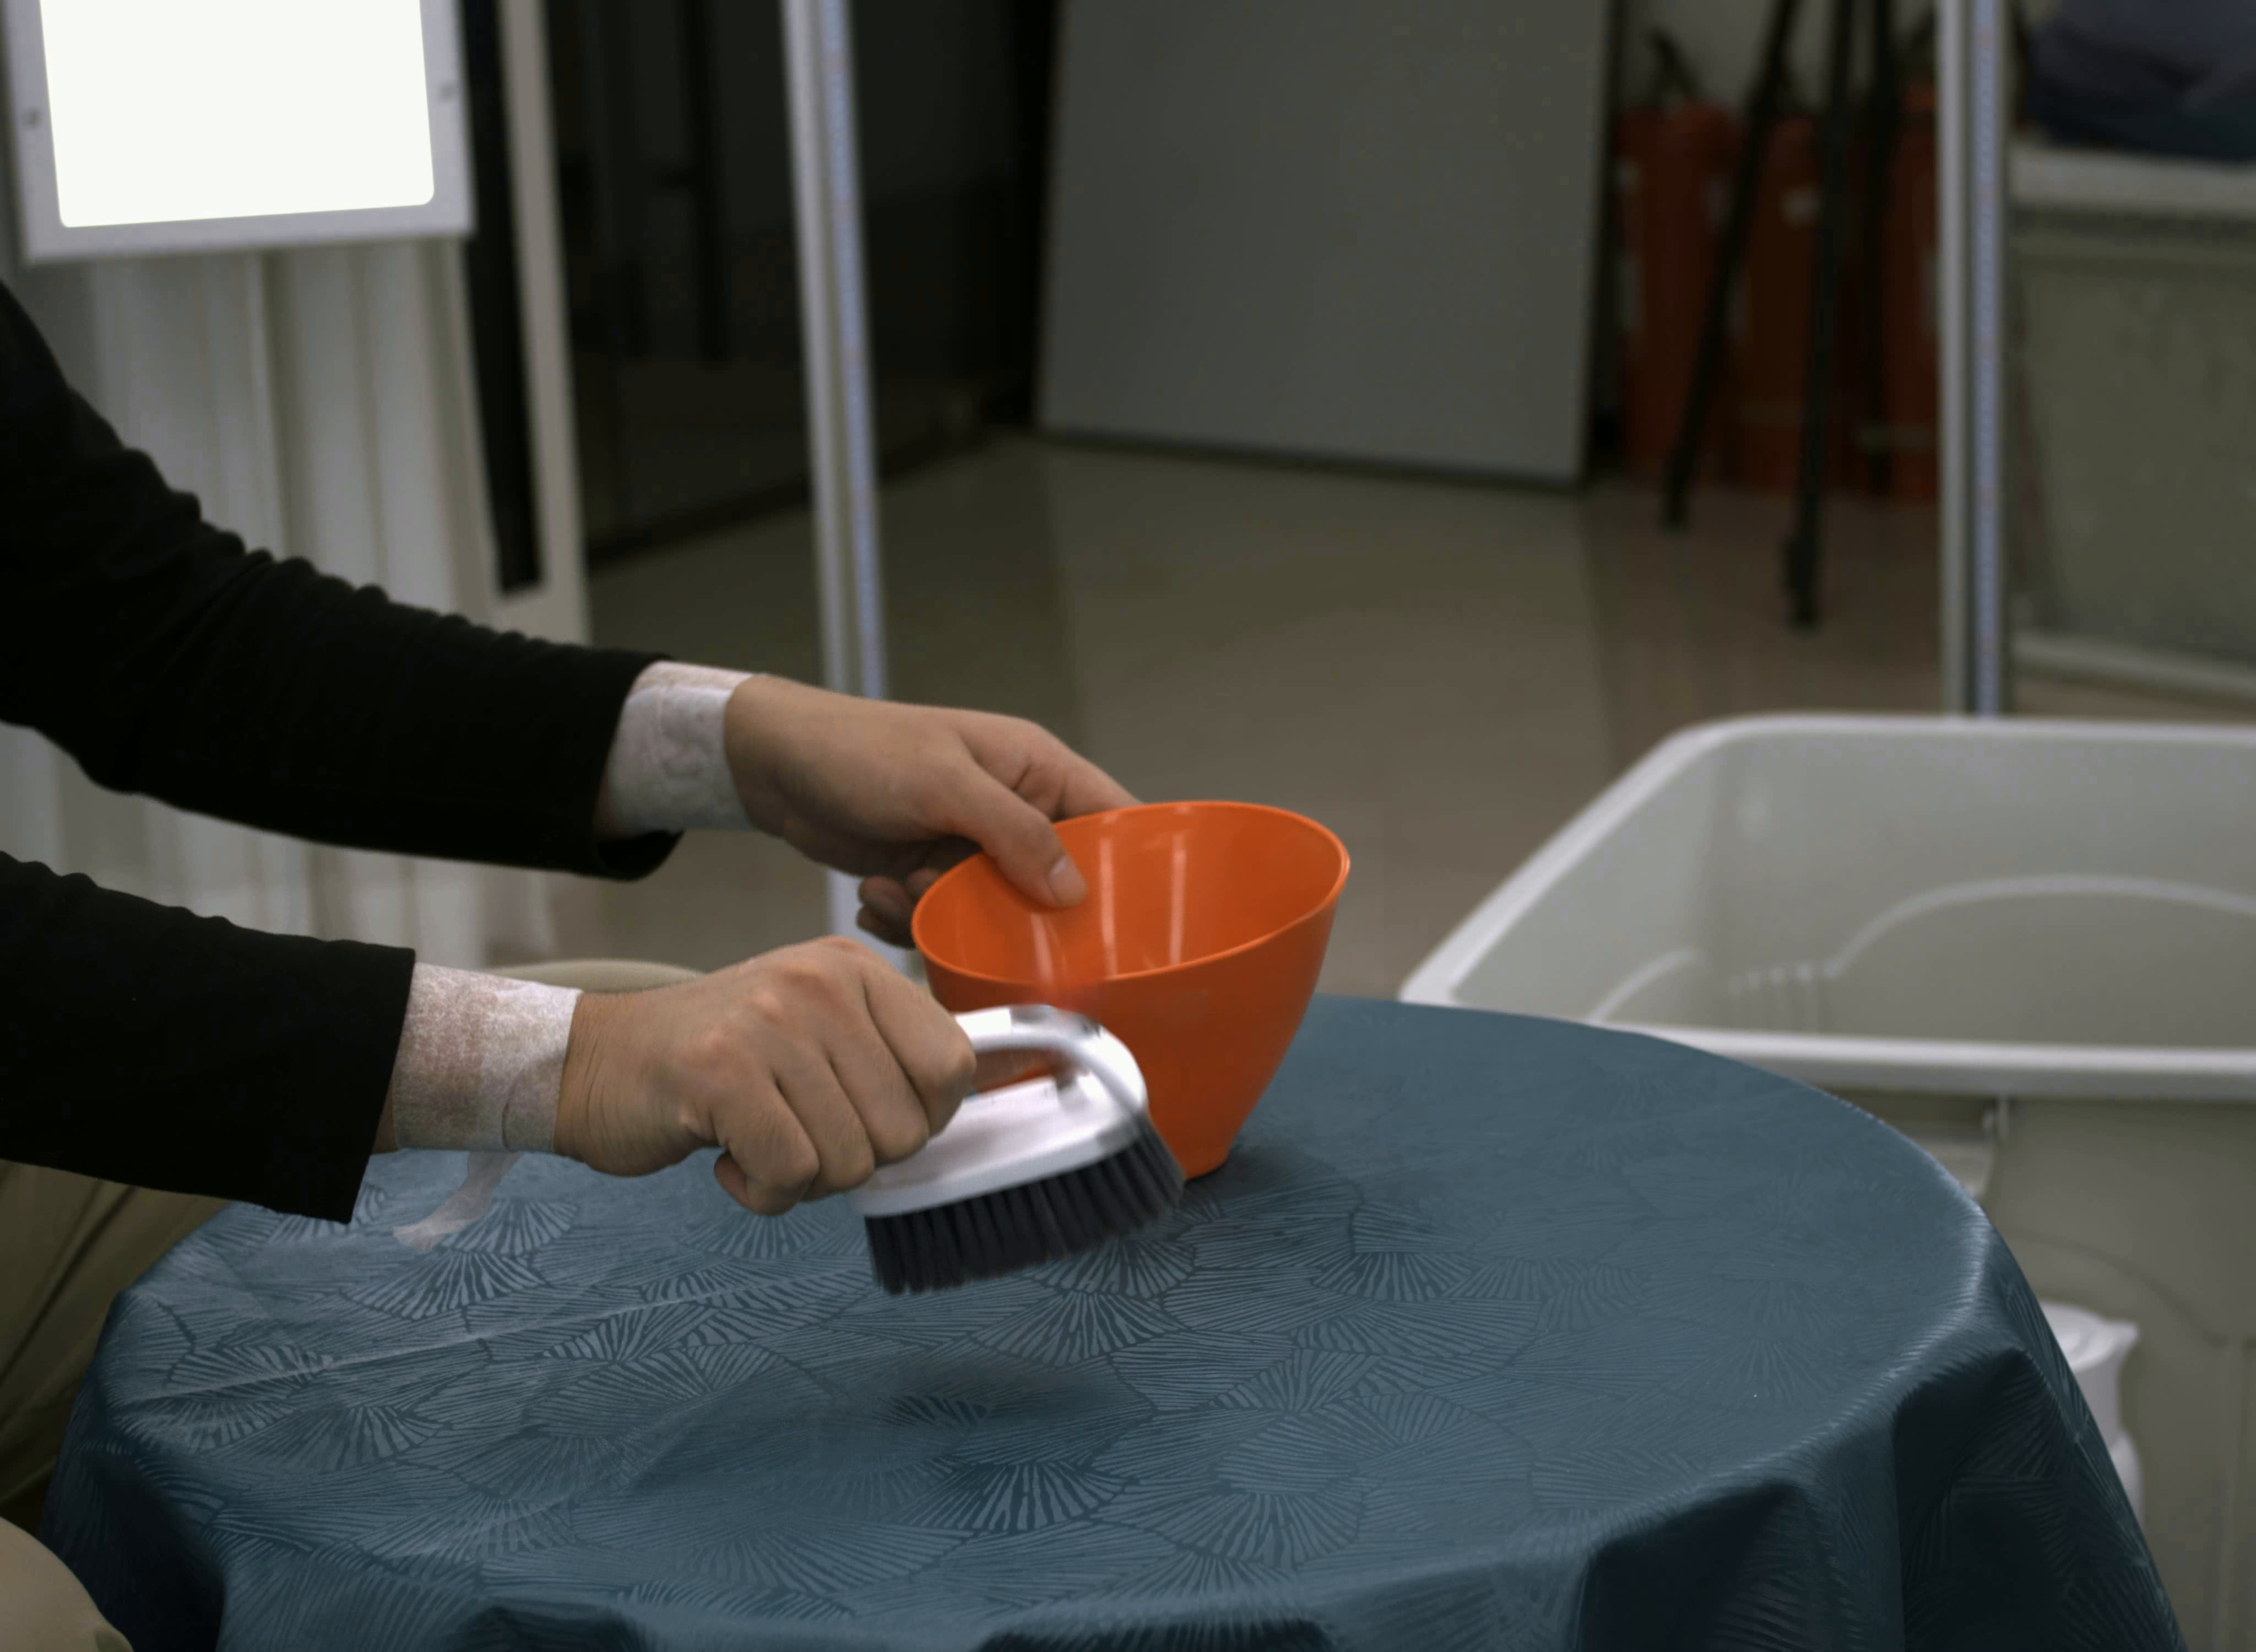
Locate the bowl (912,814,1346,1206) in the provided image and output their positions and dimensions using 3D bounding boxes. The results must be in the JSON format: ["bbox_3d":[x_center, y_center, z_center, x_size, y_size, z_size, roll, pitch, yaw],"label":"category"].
[{"bbox_3d":[0.004,0.065,1.794,0.146,0.106,0.148,-7,12,1],"label":"bowl"}]

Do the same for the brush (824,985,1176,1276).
[{"bbox_3d":[-0.043,0.084,1.584,0.099,0.072,0.050,-16,24,15],"label":"brush"}]
